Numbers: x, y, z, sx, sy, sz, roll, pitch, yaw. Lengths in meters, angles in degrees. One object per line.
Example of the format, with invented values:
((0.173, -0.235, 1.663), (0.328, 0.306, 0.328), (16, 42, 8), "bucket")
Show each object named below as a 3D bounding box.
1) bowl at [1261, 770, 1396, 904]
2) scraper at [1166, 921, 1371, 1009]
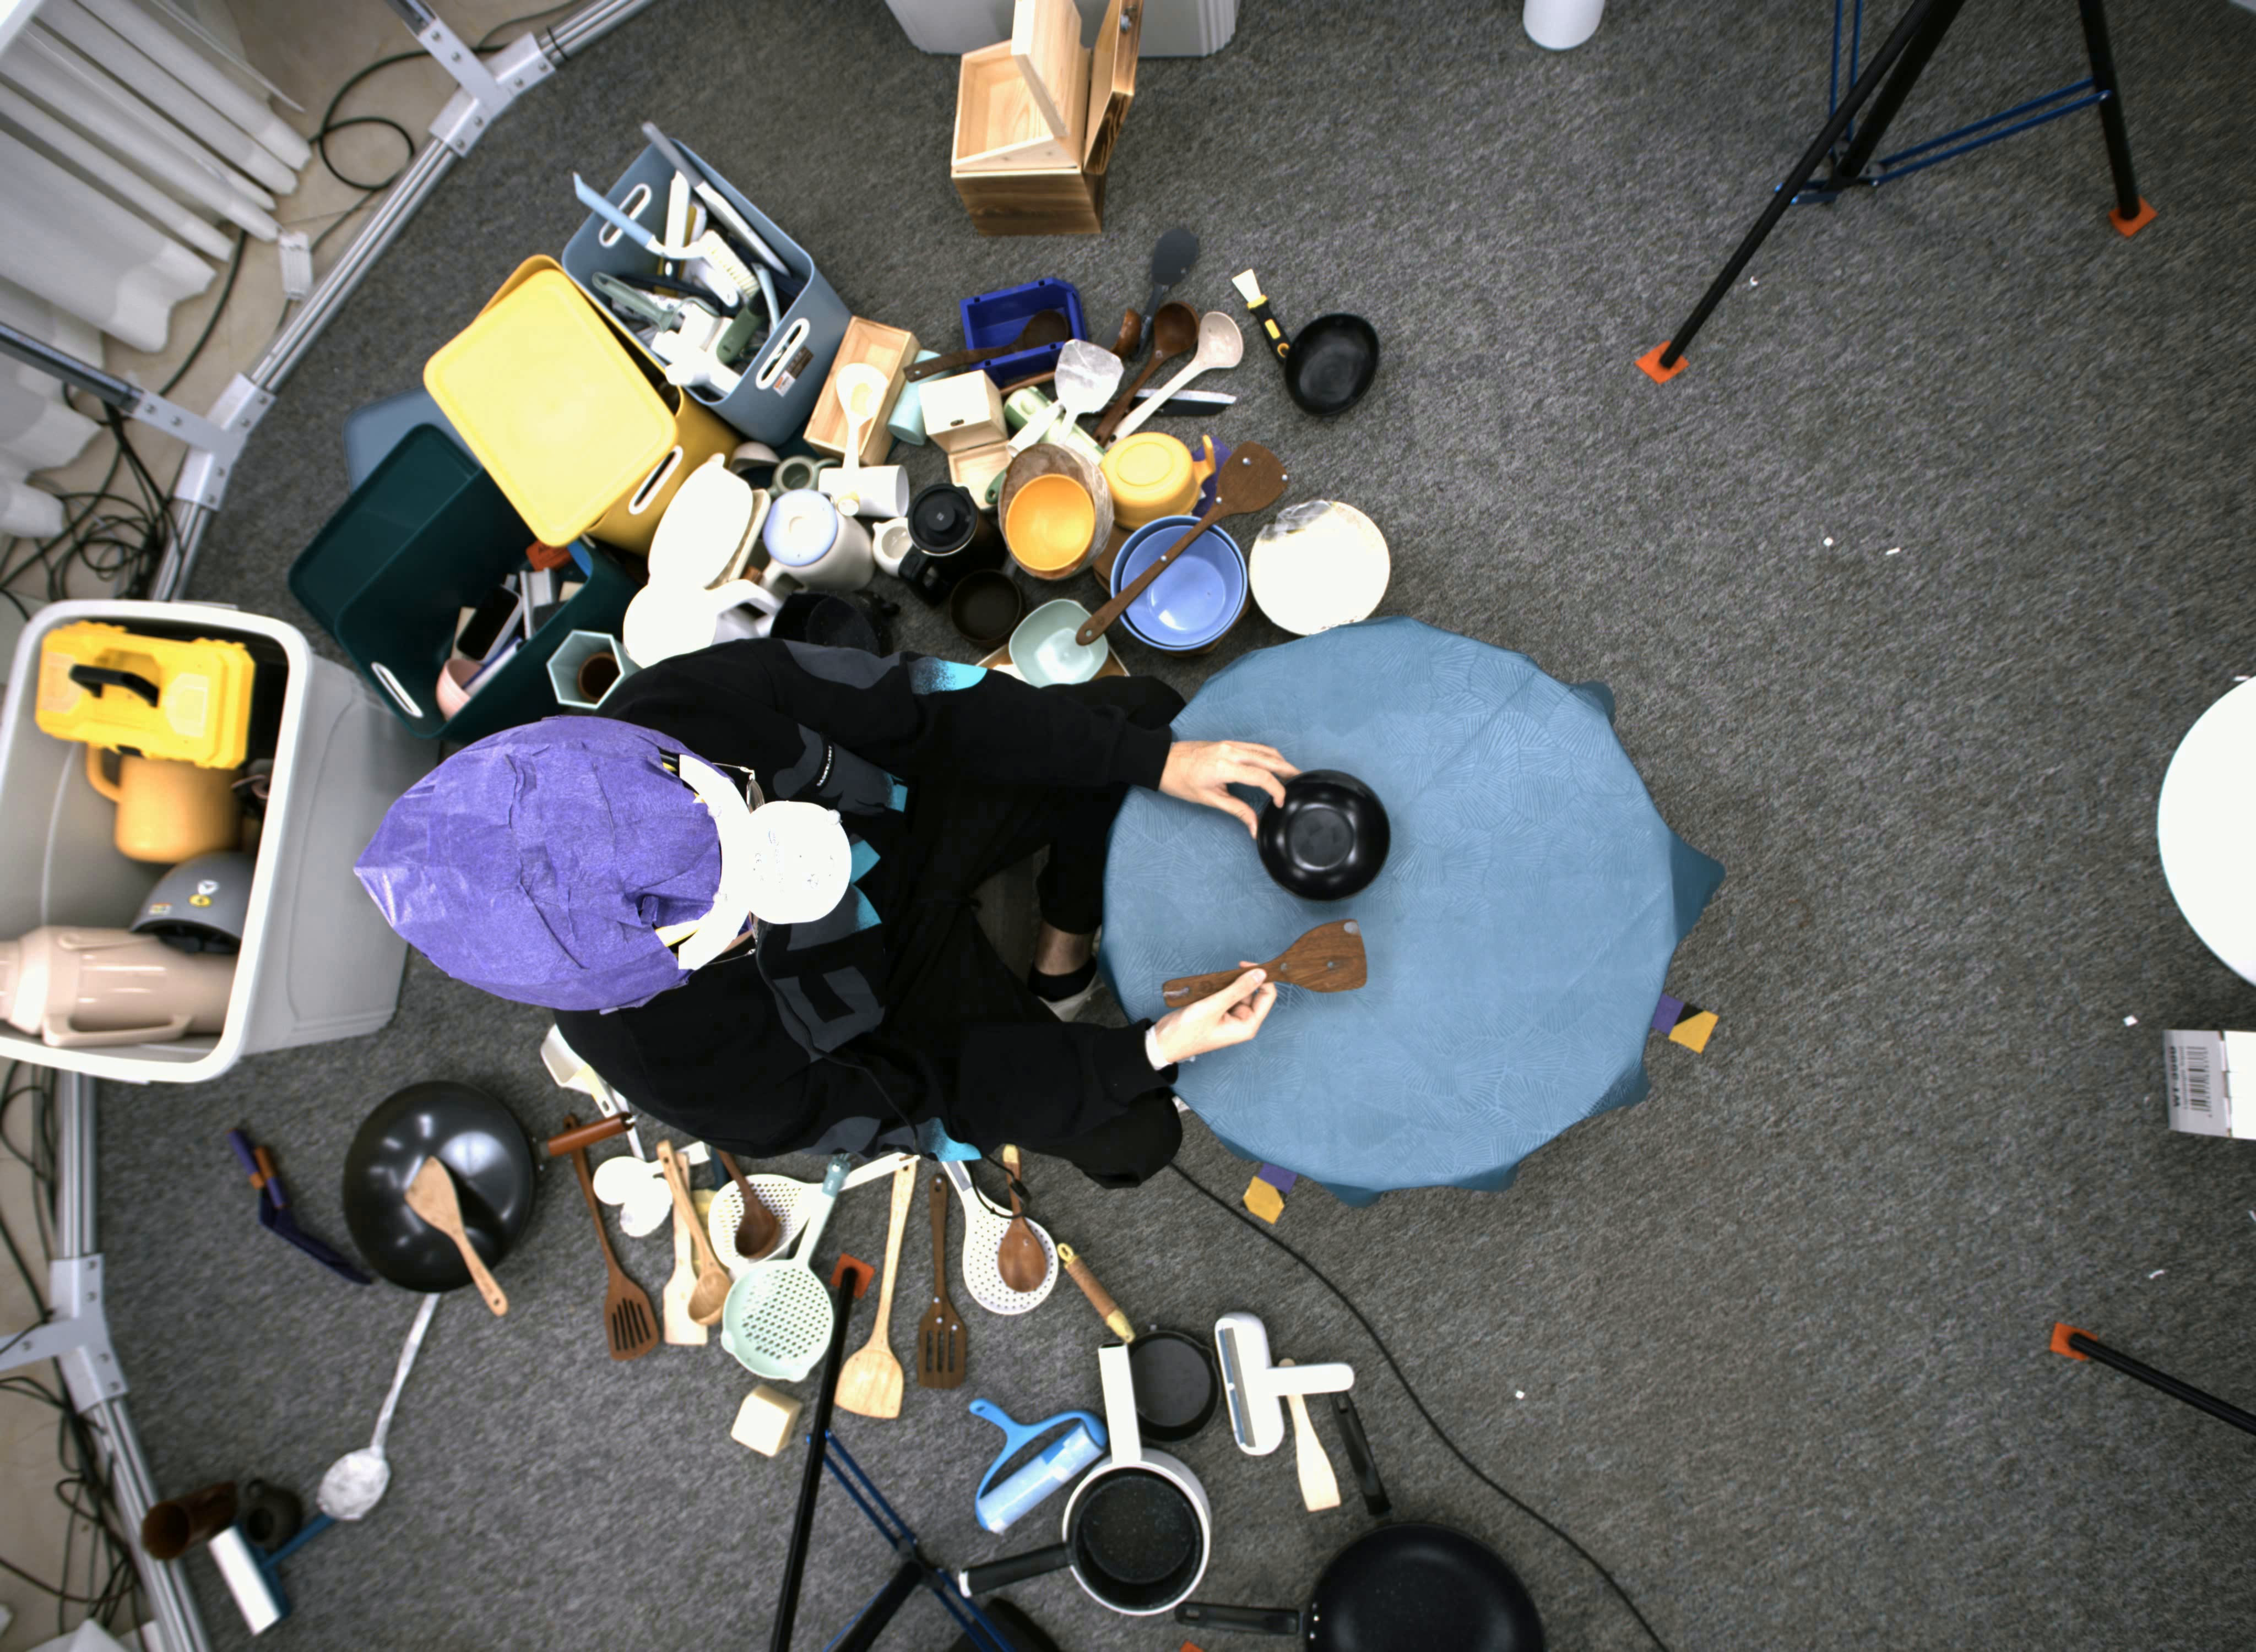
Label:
((0.208, 0.010, 1.450), (0.140, 0.049, 0.140), (0, 92, 5), "bowl")
((0.141, 0.149, 1.394), (0.211, 0.011, 0.076), (-11, 101, -8), "scraper")
